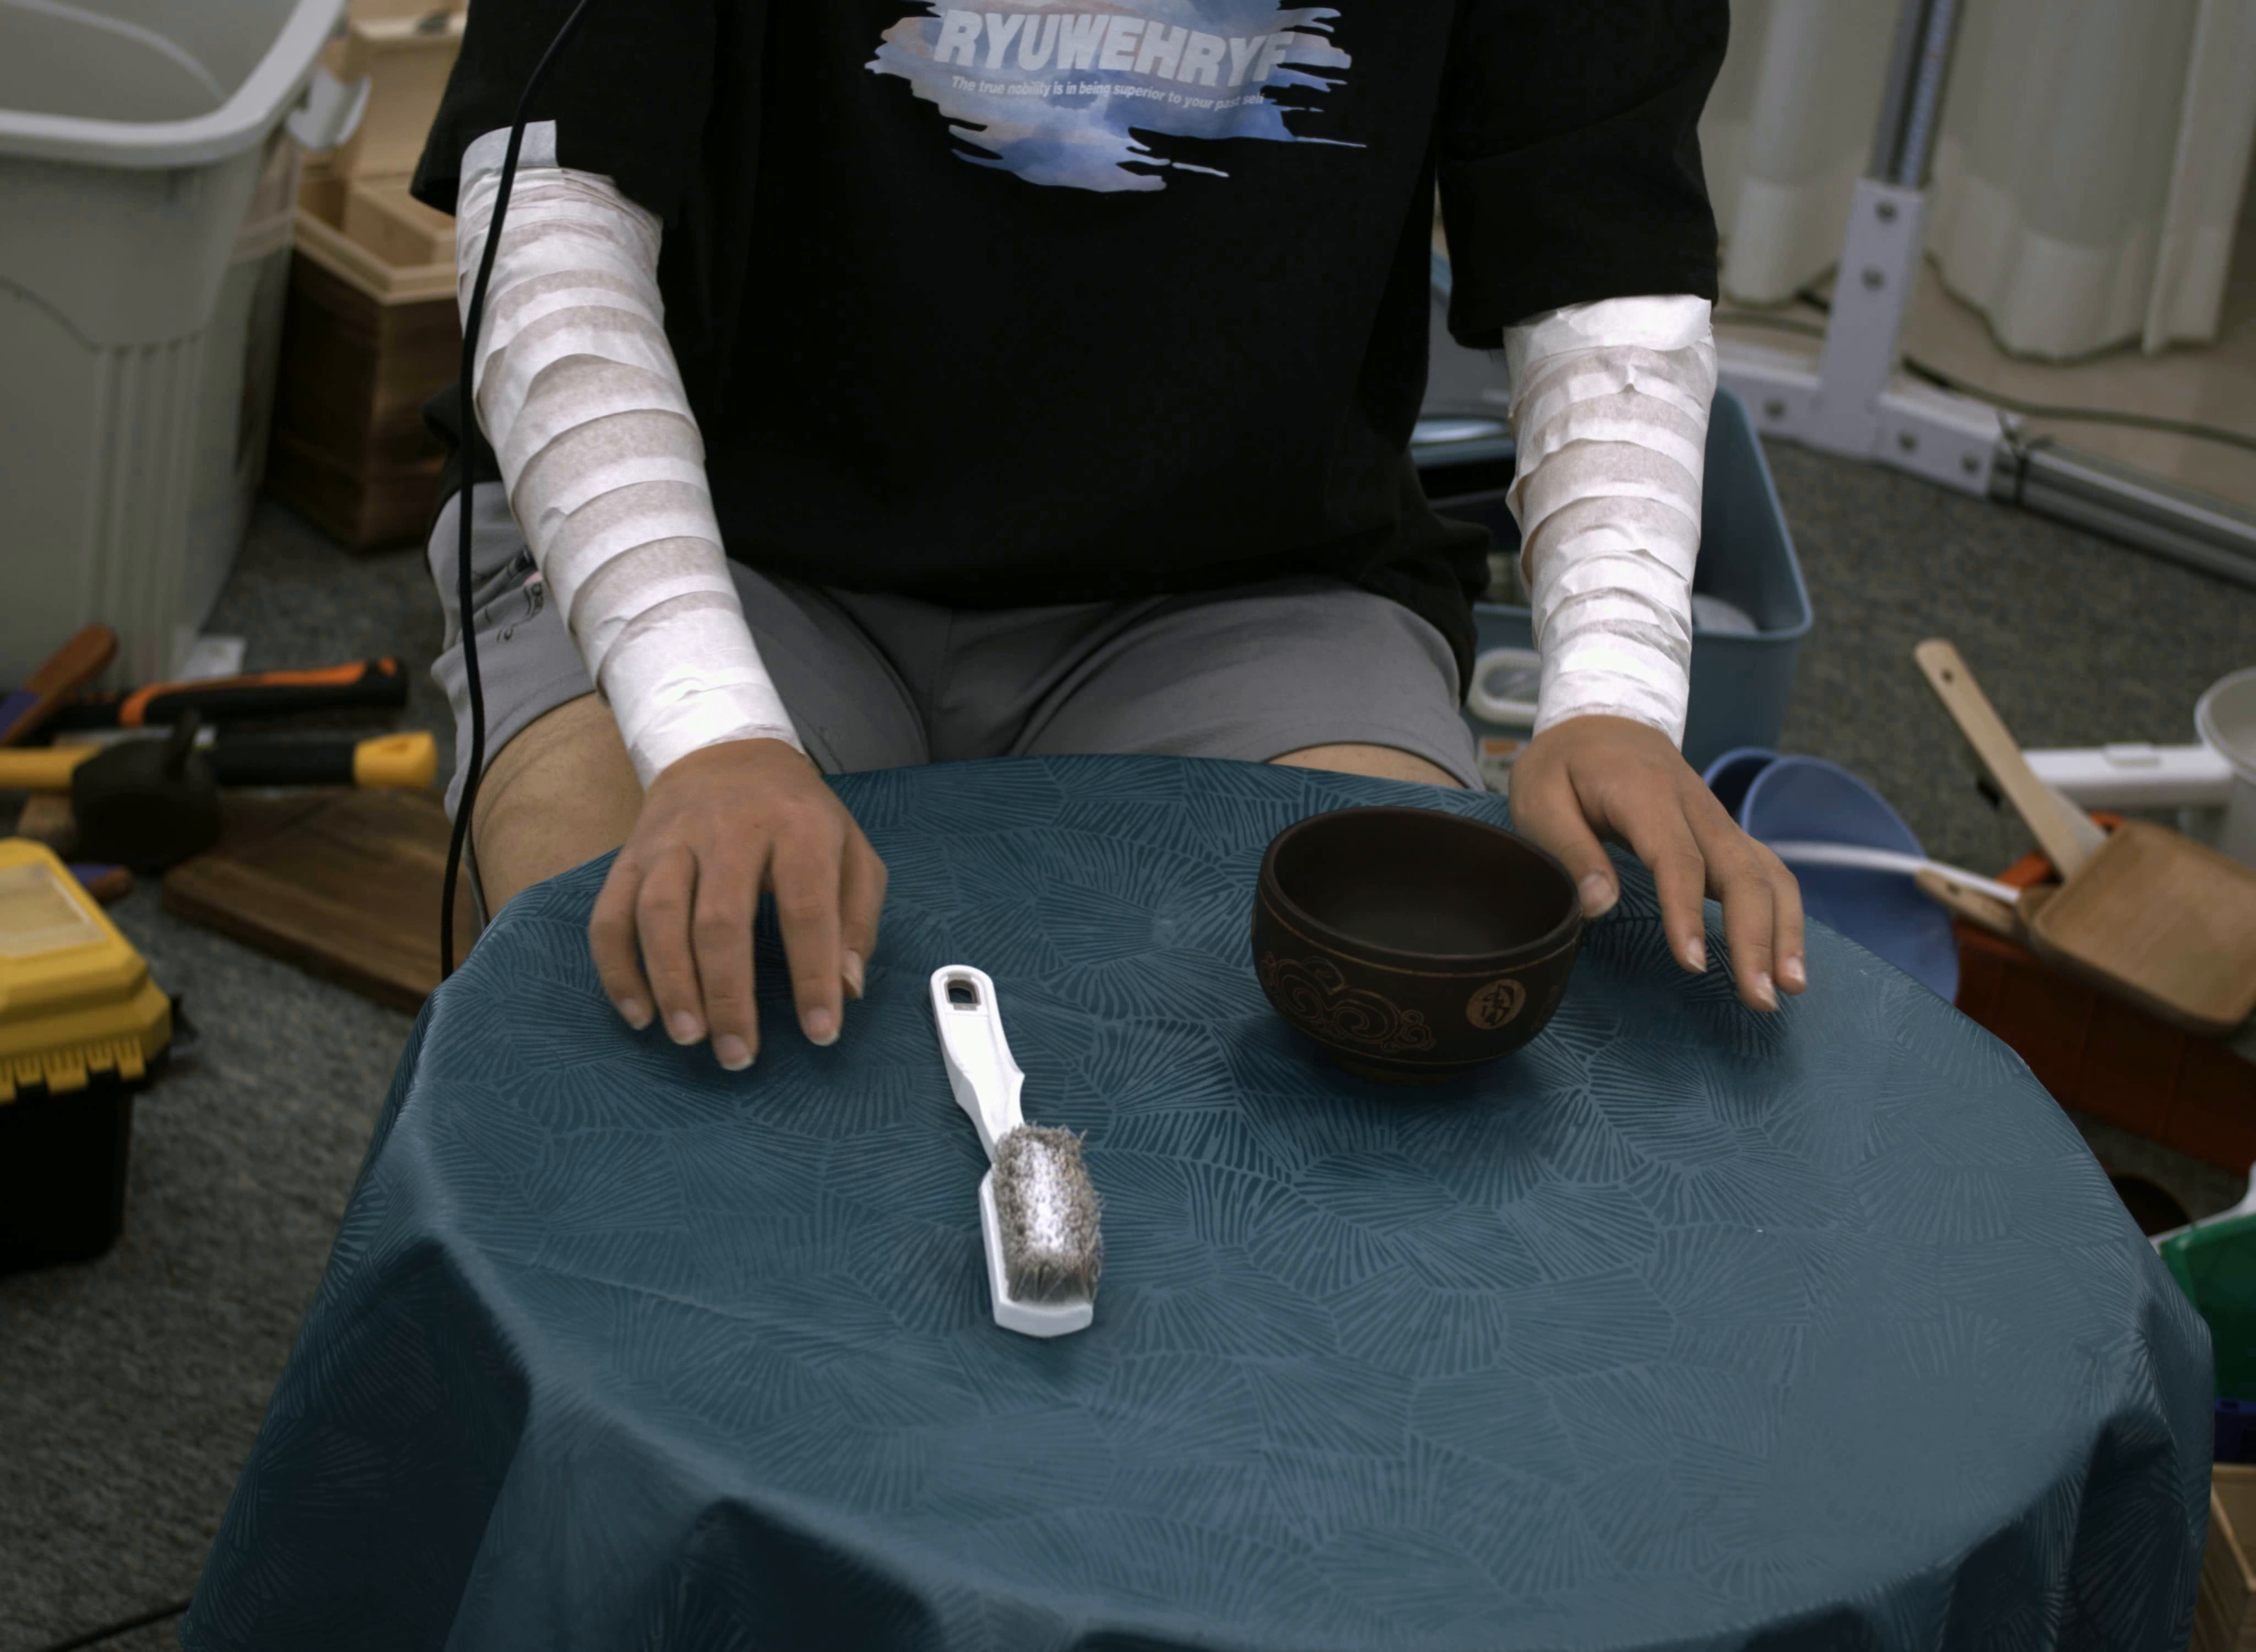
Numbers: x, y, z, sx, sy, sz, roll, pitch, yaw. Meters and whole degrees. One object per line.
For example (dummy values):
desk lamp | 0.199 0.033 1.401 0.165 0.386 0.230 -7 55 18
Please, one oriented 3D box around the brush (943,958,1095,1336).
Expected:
brush | -0.039 0.091 1.803 0.034 0.050 0.245 4 28 -9

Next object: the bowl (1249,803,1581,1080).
bowl | 0.100 0.047 1.897 0.117 0.069 0.119 5 25 -3
